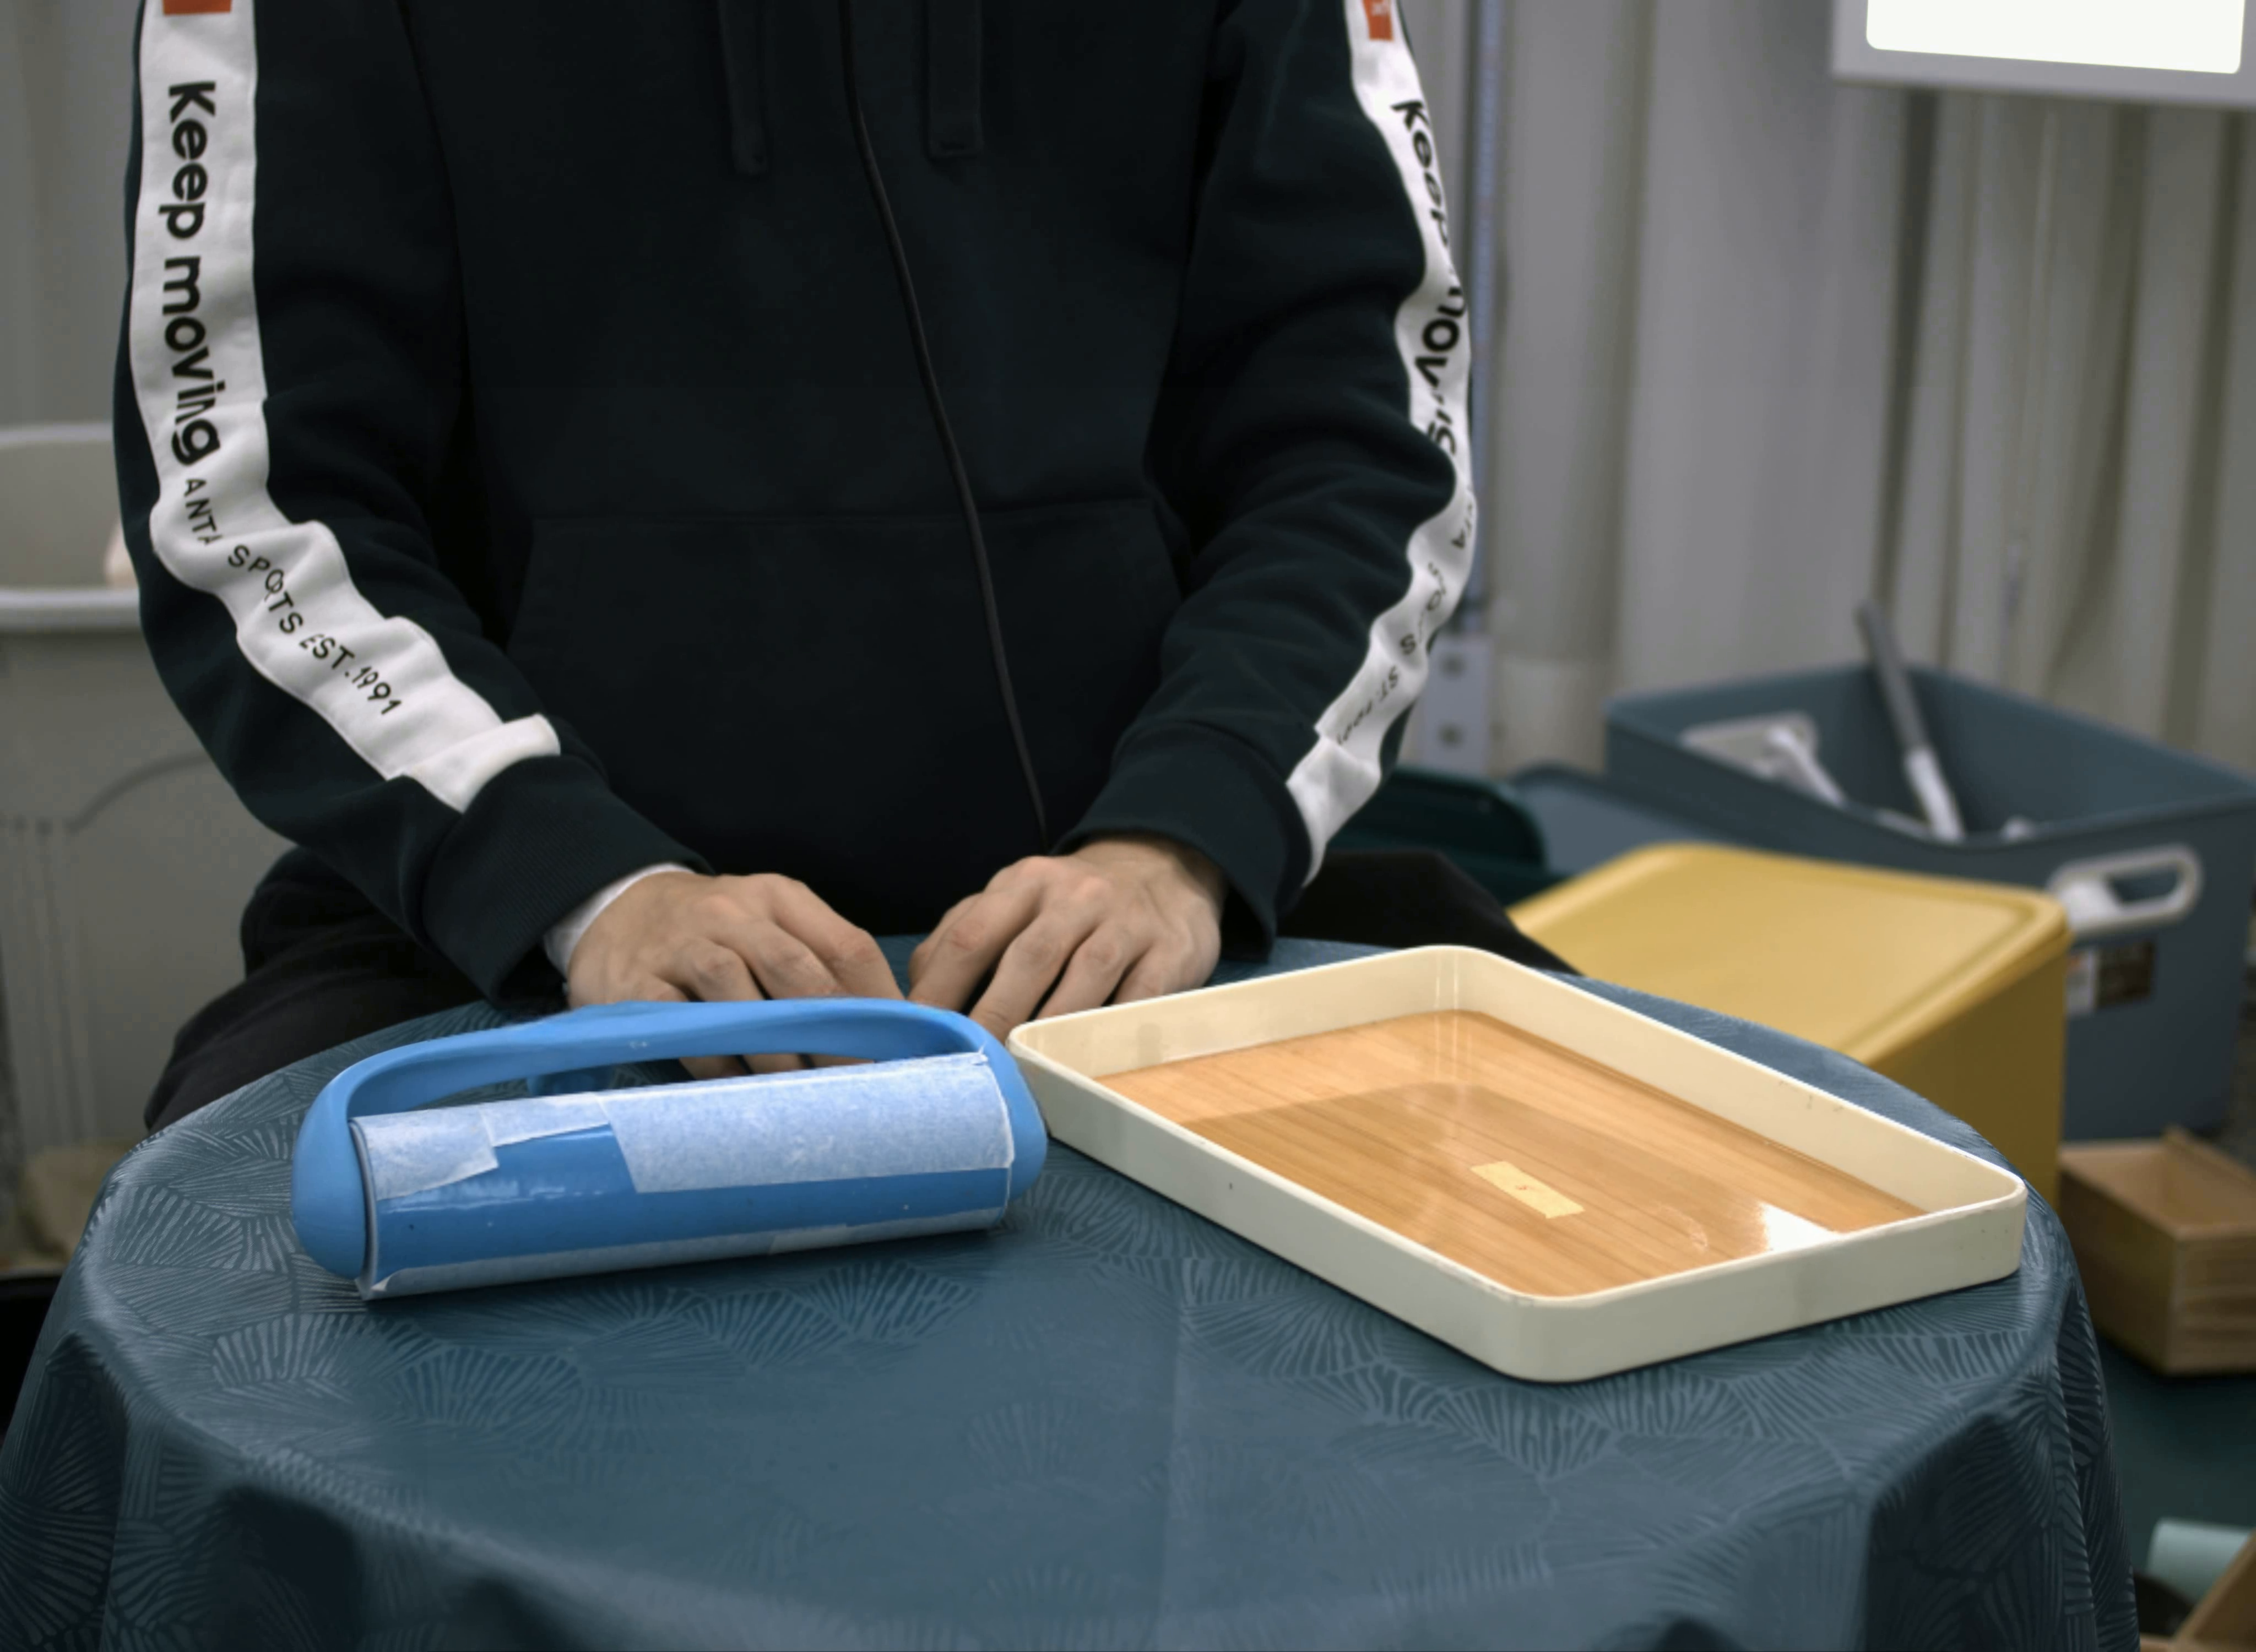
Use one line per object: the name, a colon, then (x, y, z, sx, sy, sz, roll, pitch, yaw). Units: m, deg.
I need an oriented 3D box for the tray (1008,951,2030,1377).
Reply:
tray: (0.114, 0.099, 1.622, 0.192, 0.027, 0.296, -9, 18, -31)

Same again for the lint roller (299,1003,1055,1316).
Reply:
lint roller: (-0.153, 0.088, 1.599, 0.229, 0.068, 0.178, -8, 18, -22)
